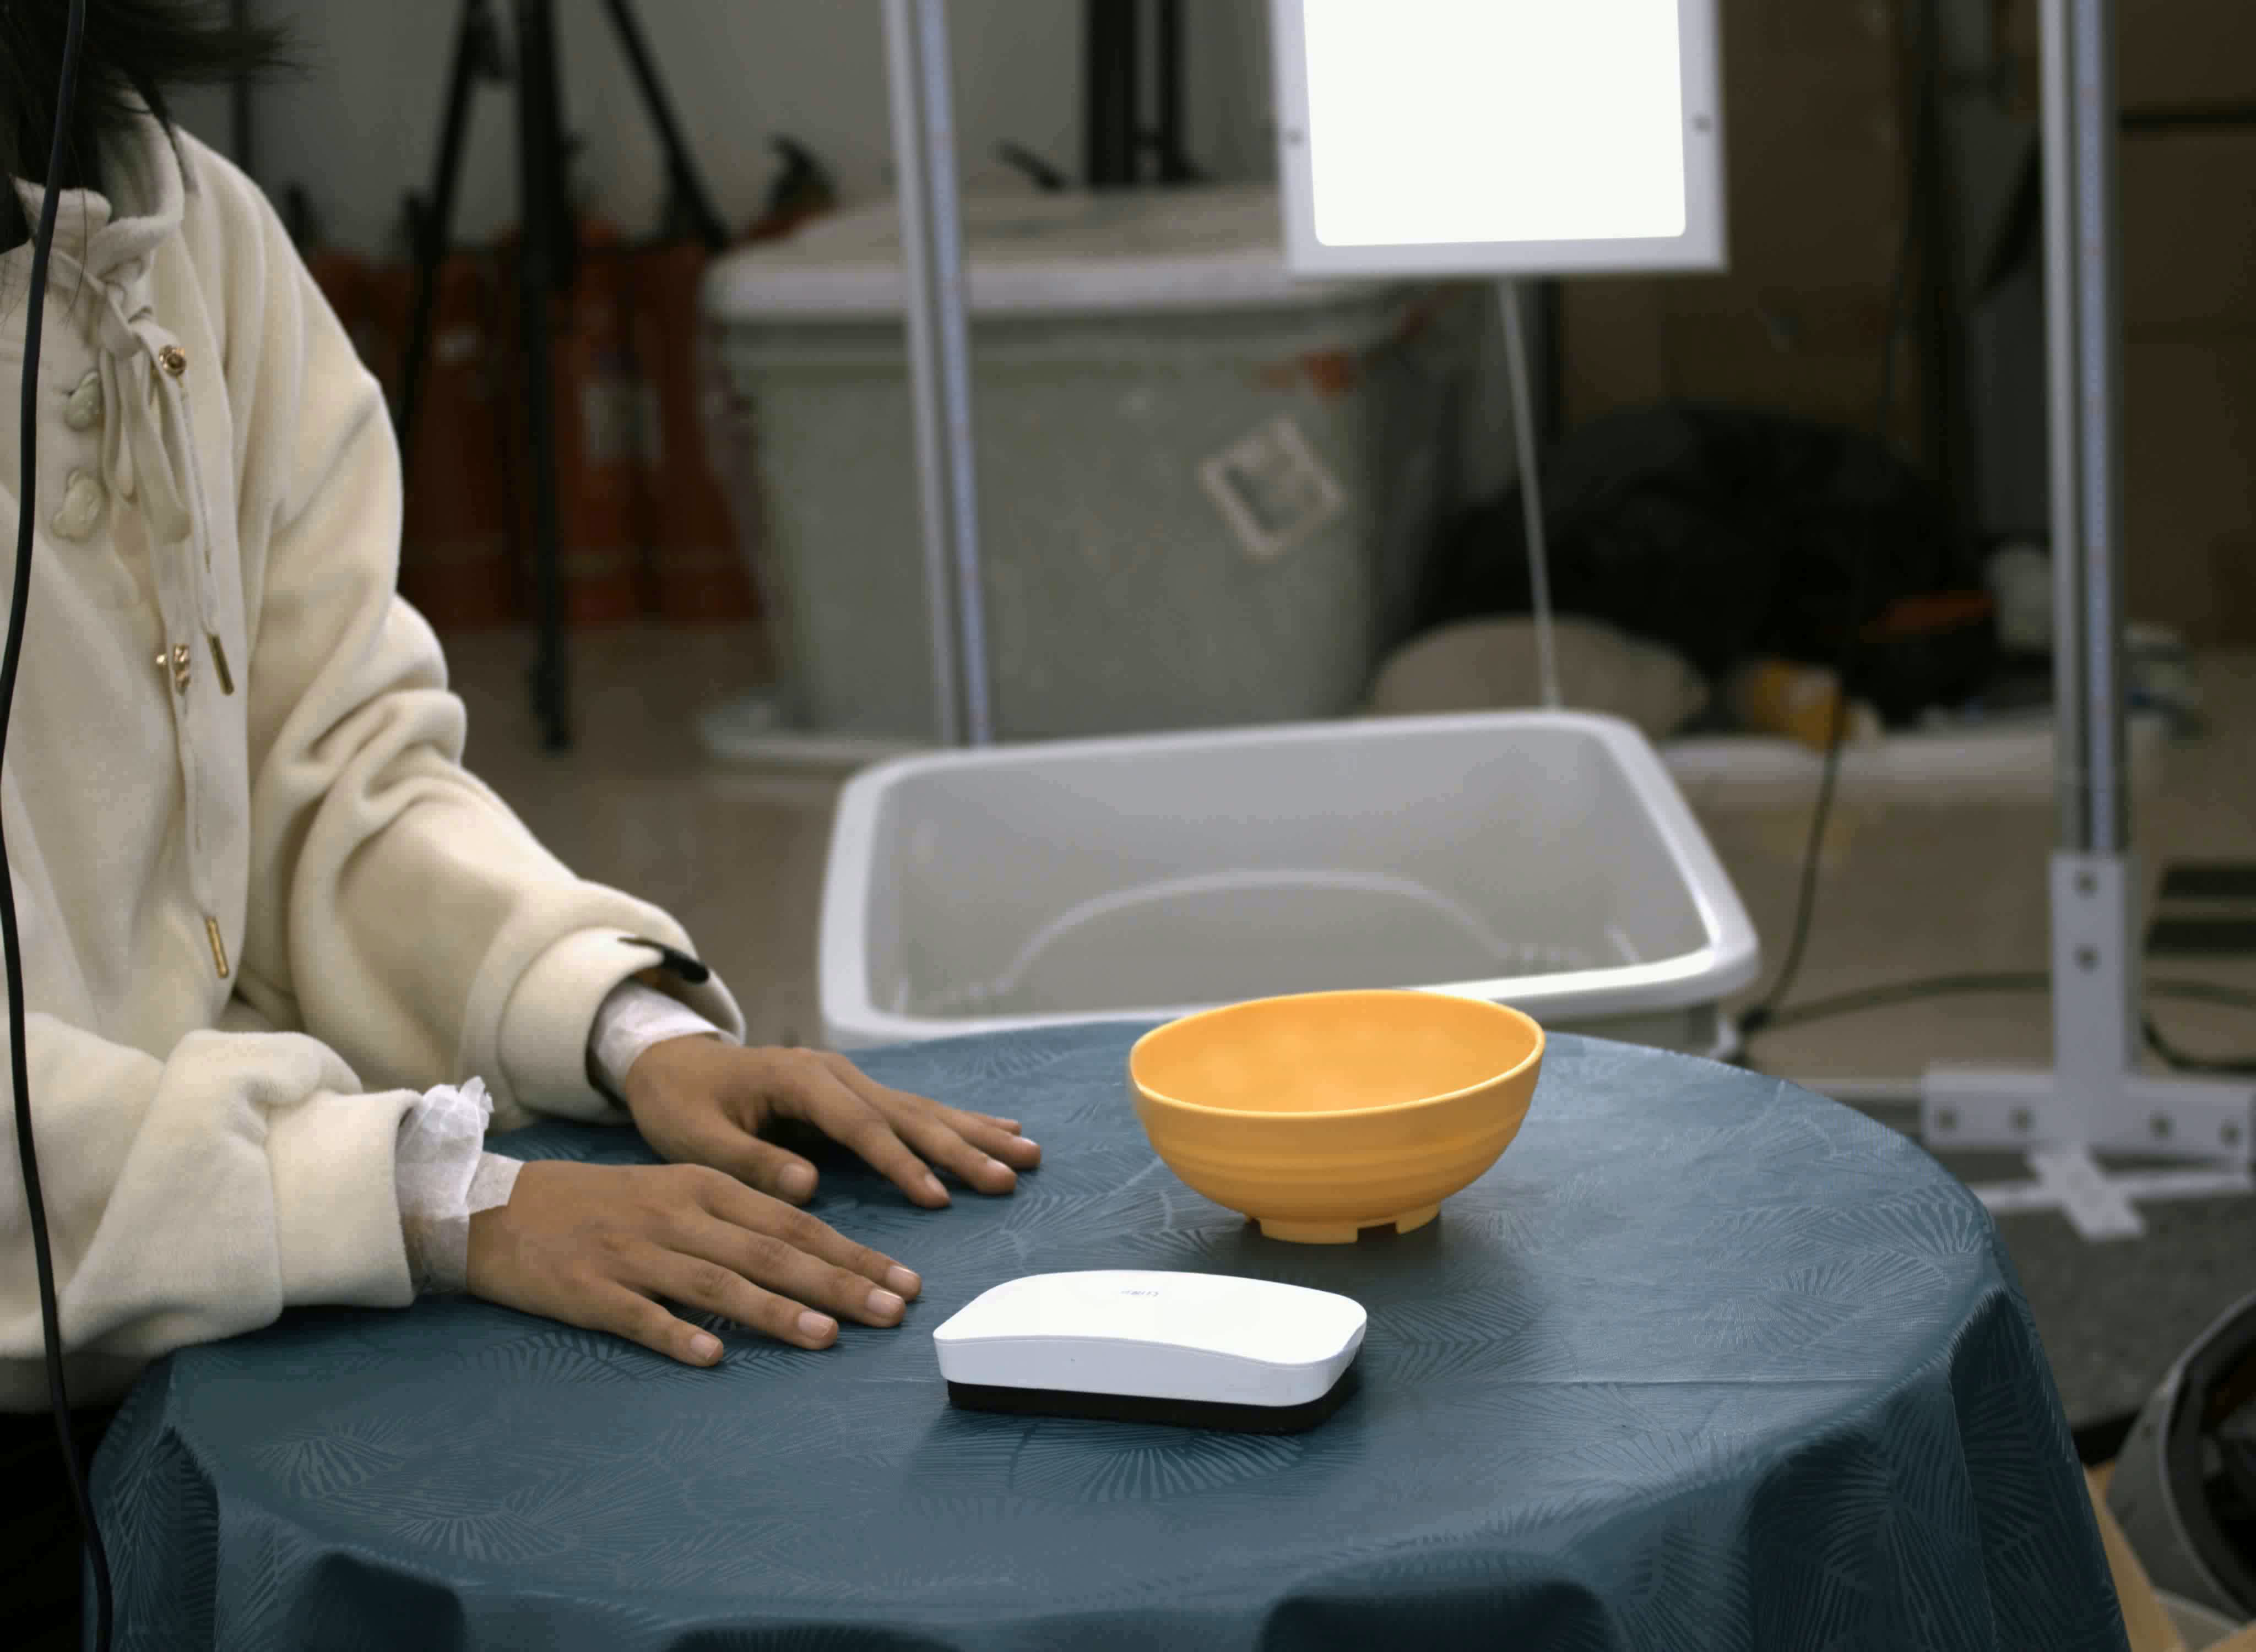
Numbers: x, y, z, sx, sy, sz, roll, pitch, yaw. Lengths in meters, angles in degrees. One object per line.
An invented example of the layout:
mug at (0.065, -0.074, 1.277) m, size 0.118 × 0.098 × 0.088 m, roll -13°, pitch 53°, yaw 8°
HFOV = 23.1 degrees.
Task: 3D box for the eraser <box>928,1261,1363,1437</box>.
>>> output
eraser at (0.006, 0.160, 1.694) m, size 0.133 × 0.034 × 0.062 m, roll 3°, pitch 14°, yaw 26°

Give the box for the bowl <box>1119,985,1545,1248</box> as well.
bowl at (0.070, 0.103, 1.849) m, size 0.145 × 0.060 × 0.145 m, roll -4°, pitch 15°, yaw 0°
